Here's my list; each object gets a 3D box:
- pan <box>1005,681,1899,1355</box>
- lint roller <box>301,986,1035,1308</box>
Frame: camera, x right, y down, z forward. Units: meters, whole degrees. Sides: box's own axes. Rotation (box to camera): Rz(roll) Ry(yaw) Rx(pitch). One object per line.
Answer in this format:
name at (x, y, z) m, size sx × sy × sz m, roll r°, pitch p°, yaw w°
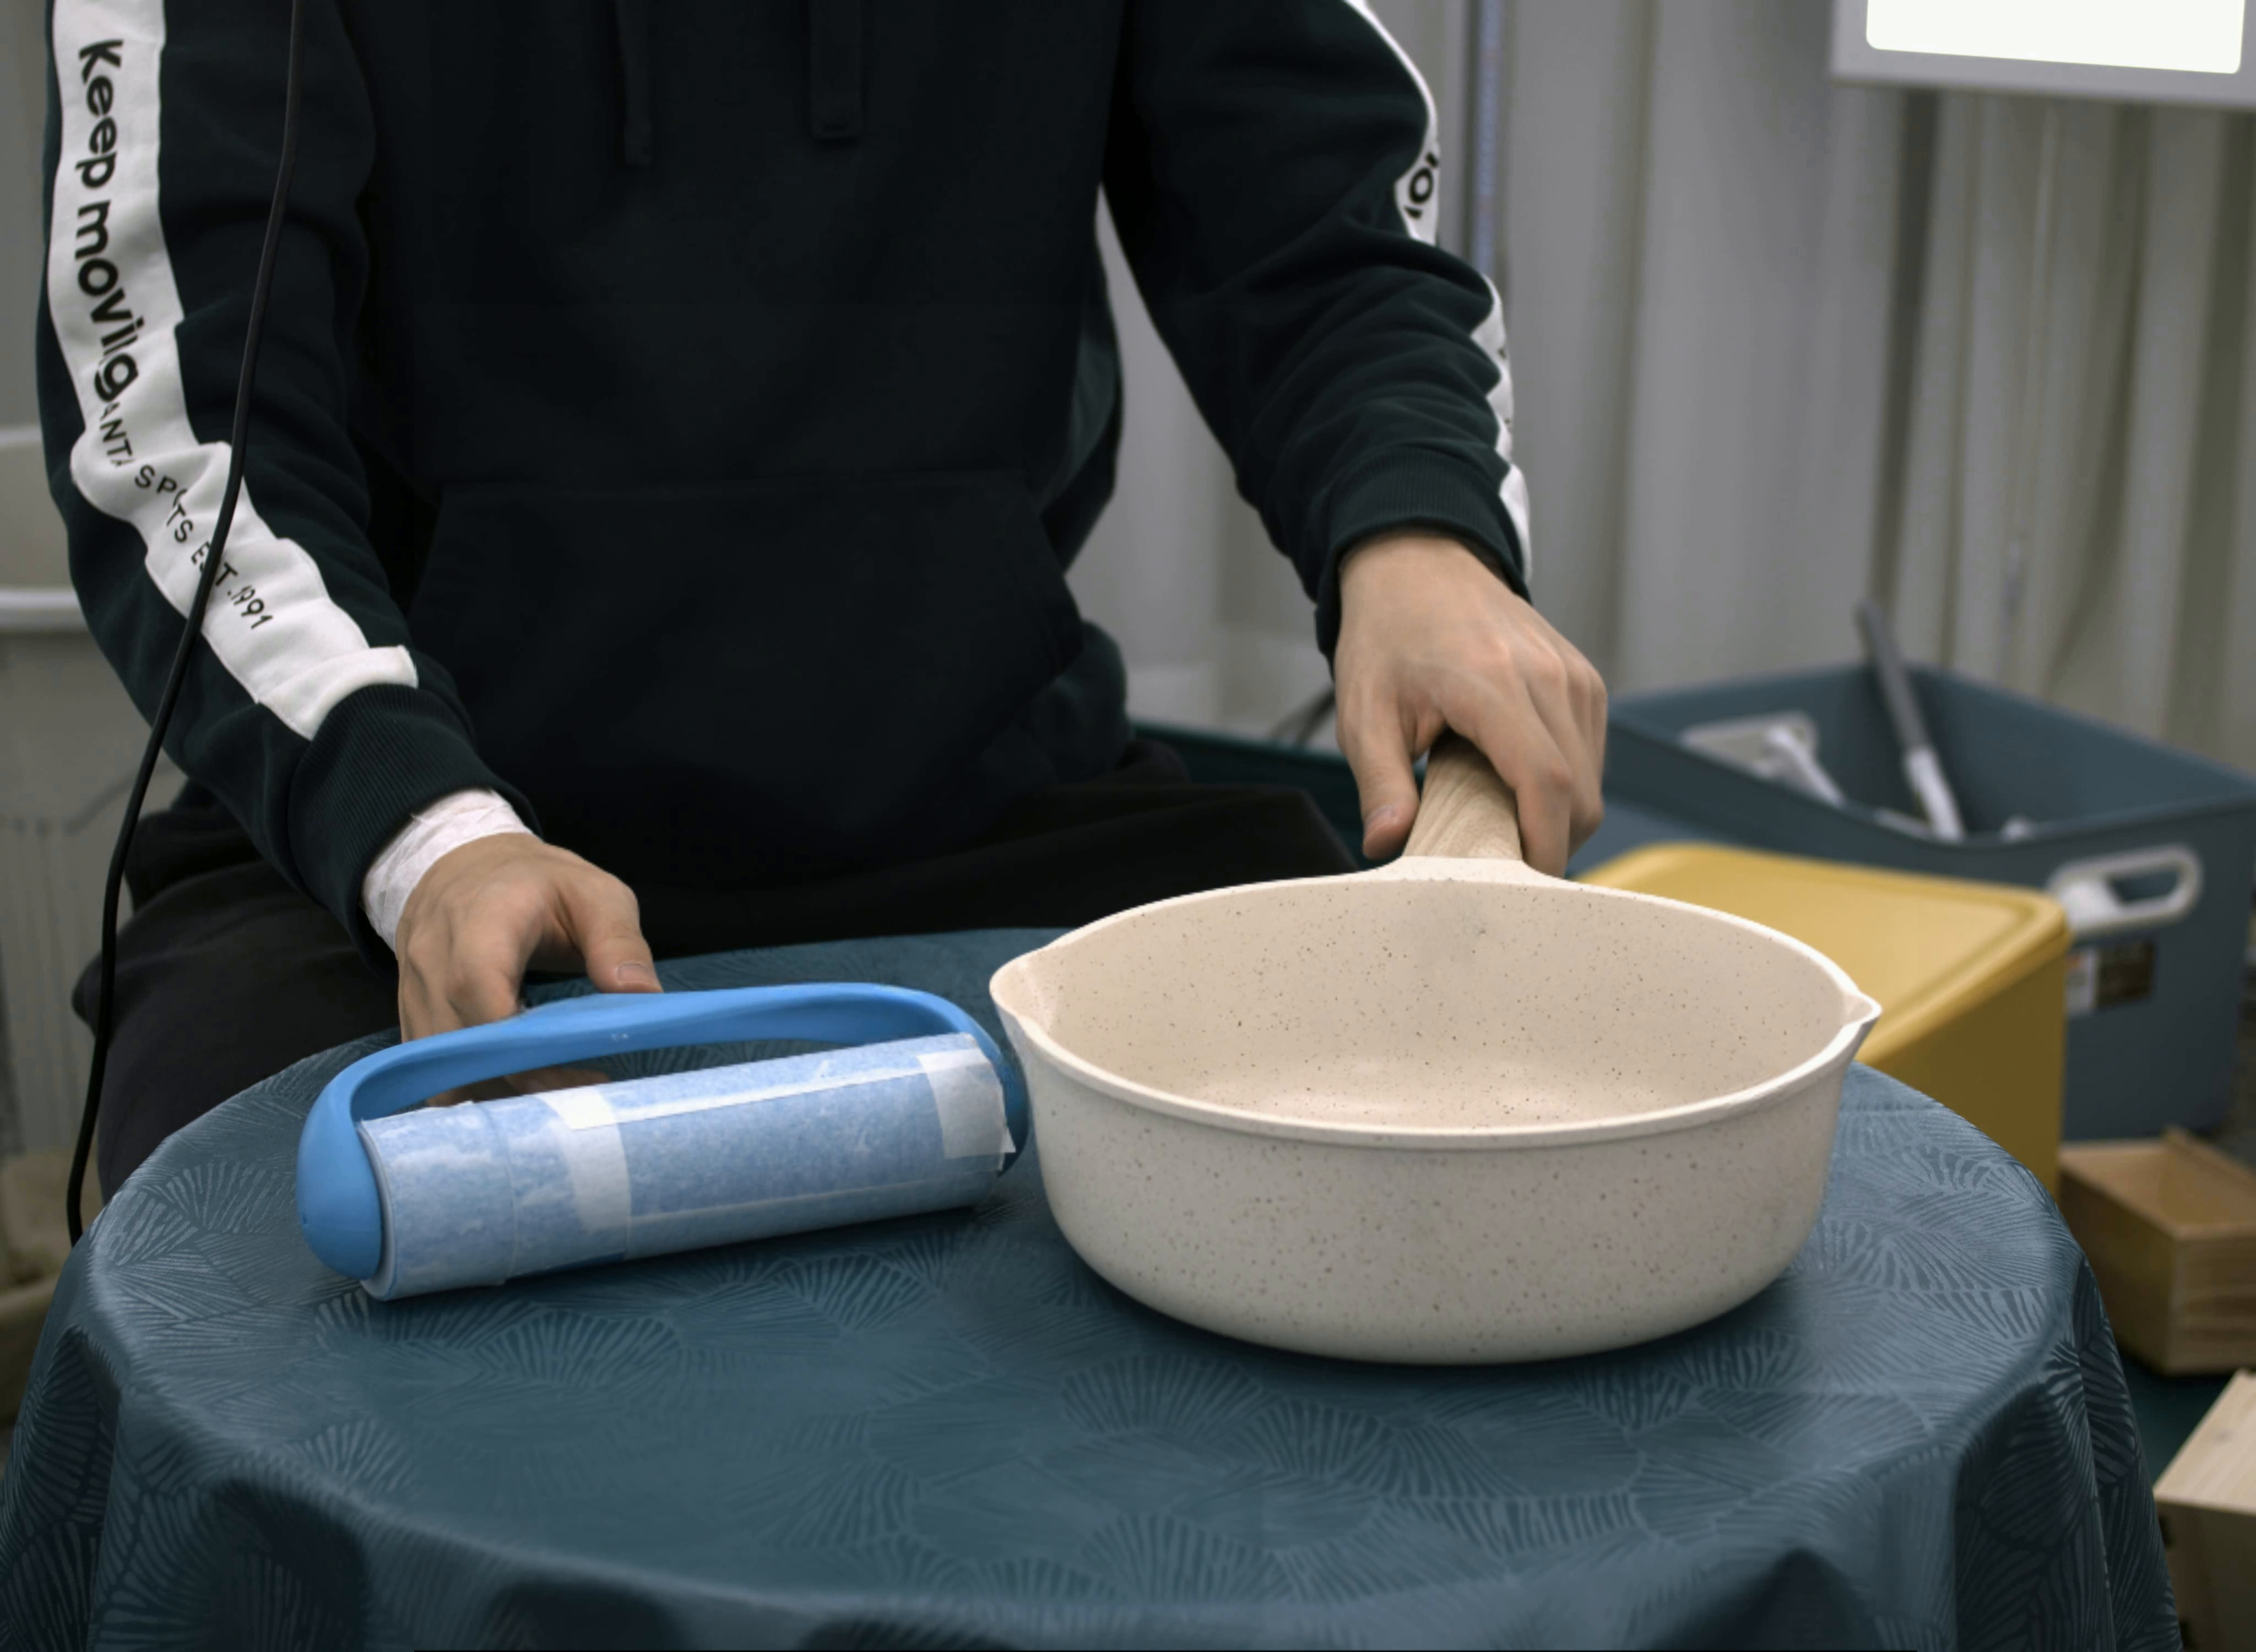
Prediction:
pan at (0.104, 0.055, 1.642) m, size 0.262 × 0.103 × 0.433 m, roll 1°, pitch 15°, yaw 5°
lint roller at (-0.161, 0.084, 1.608) m, size 0.230 × 0.068 × 0.178 m, roll -10°, pitch 20°, yaw -28°
